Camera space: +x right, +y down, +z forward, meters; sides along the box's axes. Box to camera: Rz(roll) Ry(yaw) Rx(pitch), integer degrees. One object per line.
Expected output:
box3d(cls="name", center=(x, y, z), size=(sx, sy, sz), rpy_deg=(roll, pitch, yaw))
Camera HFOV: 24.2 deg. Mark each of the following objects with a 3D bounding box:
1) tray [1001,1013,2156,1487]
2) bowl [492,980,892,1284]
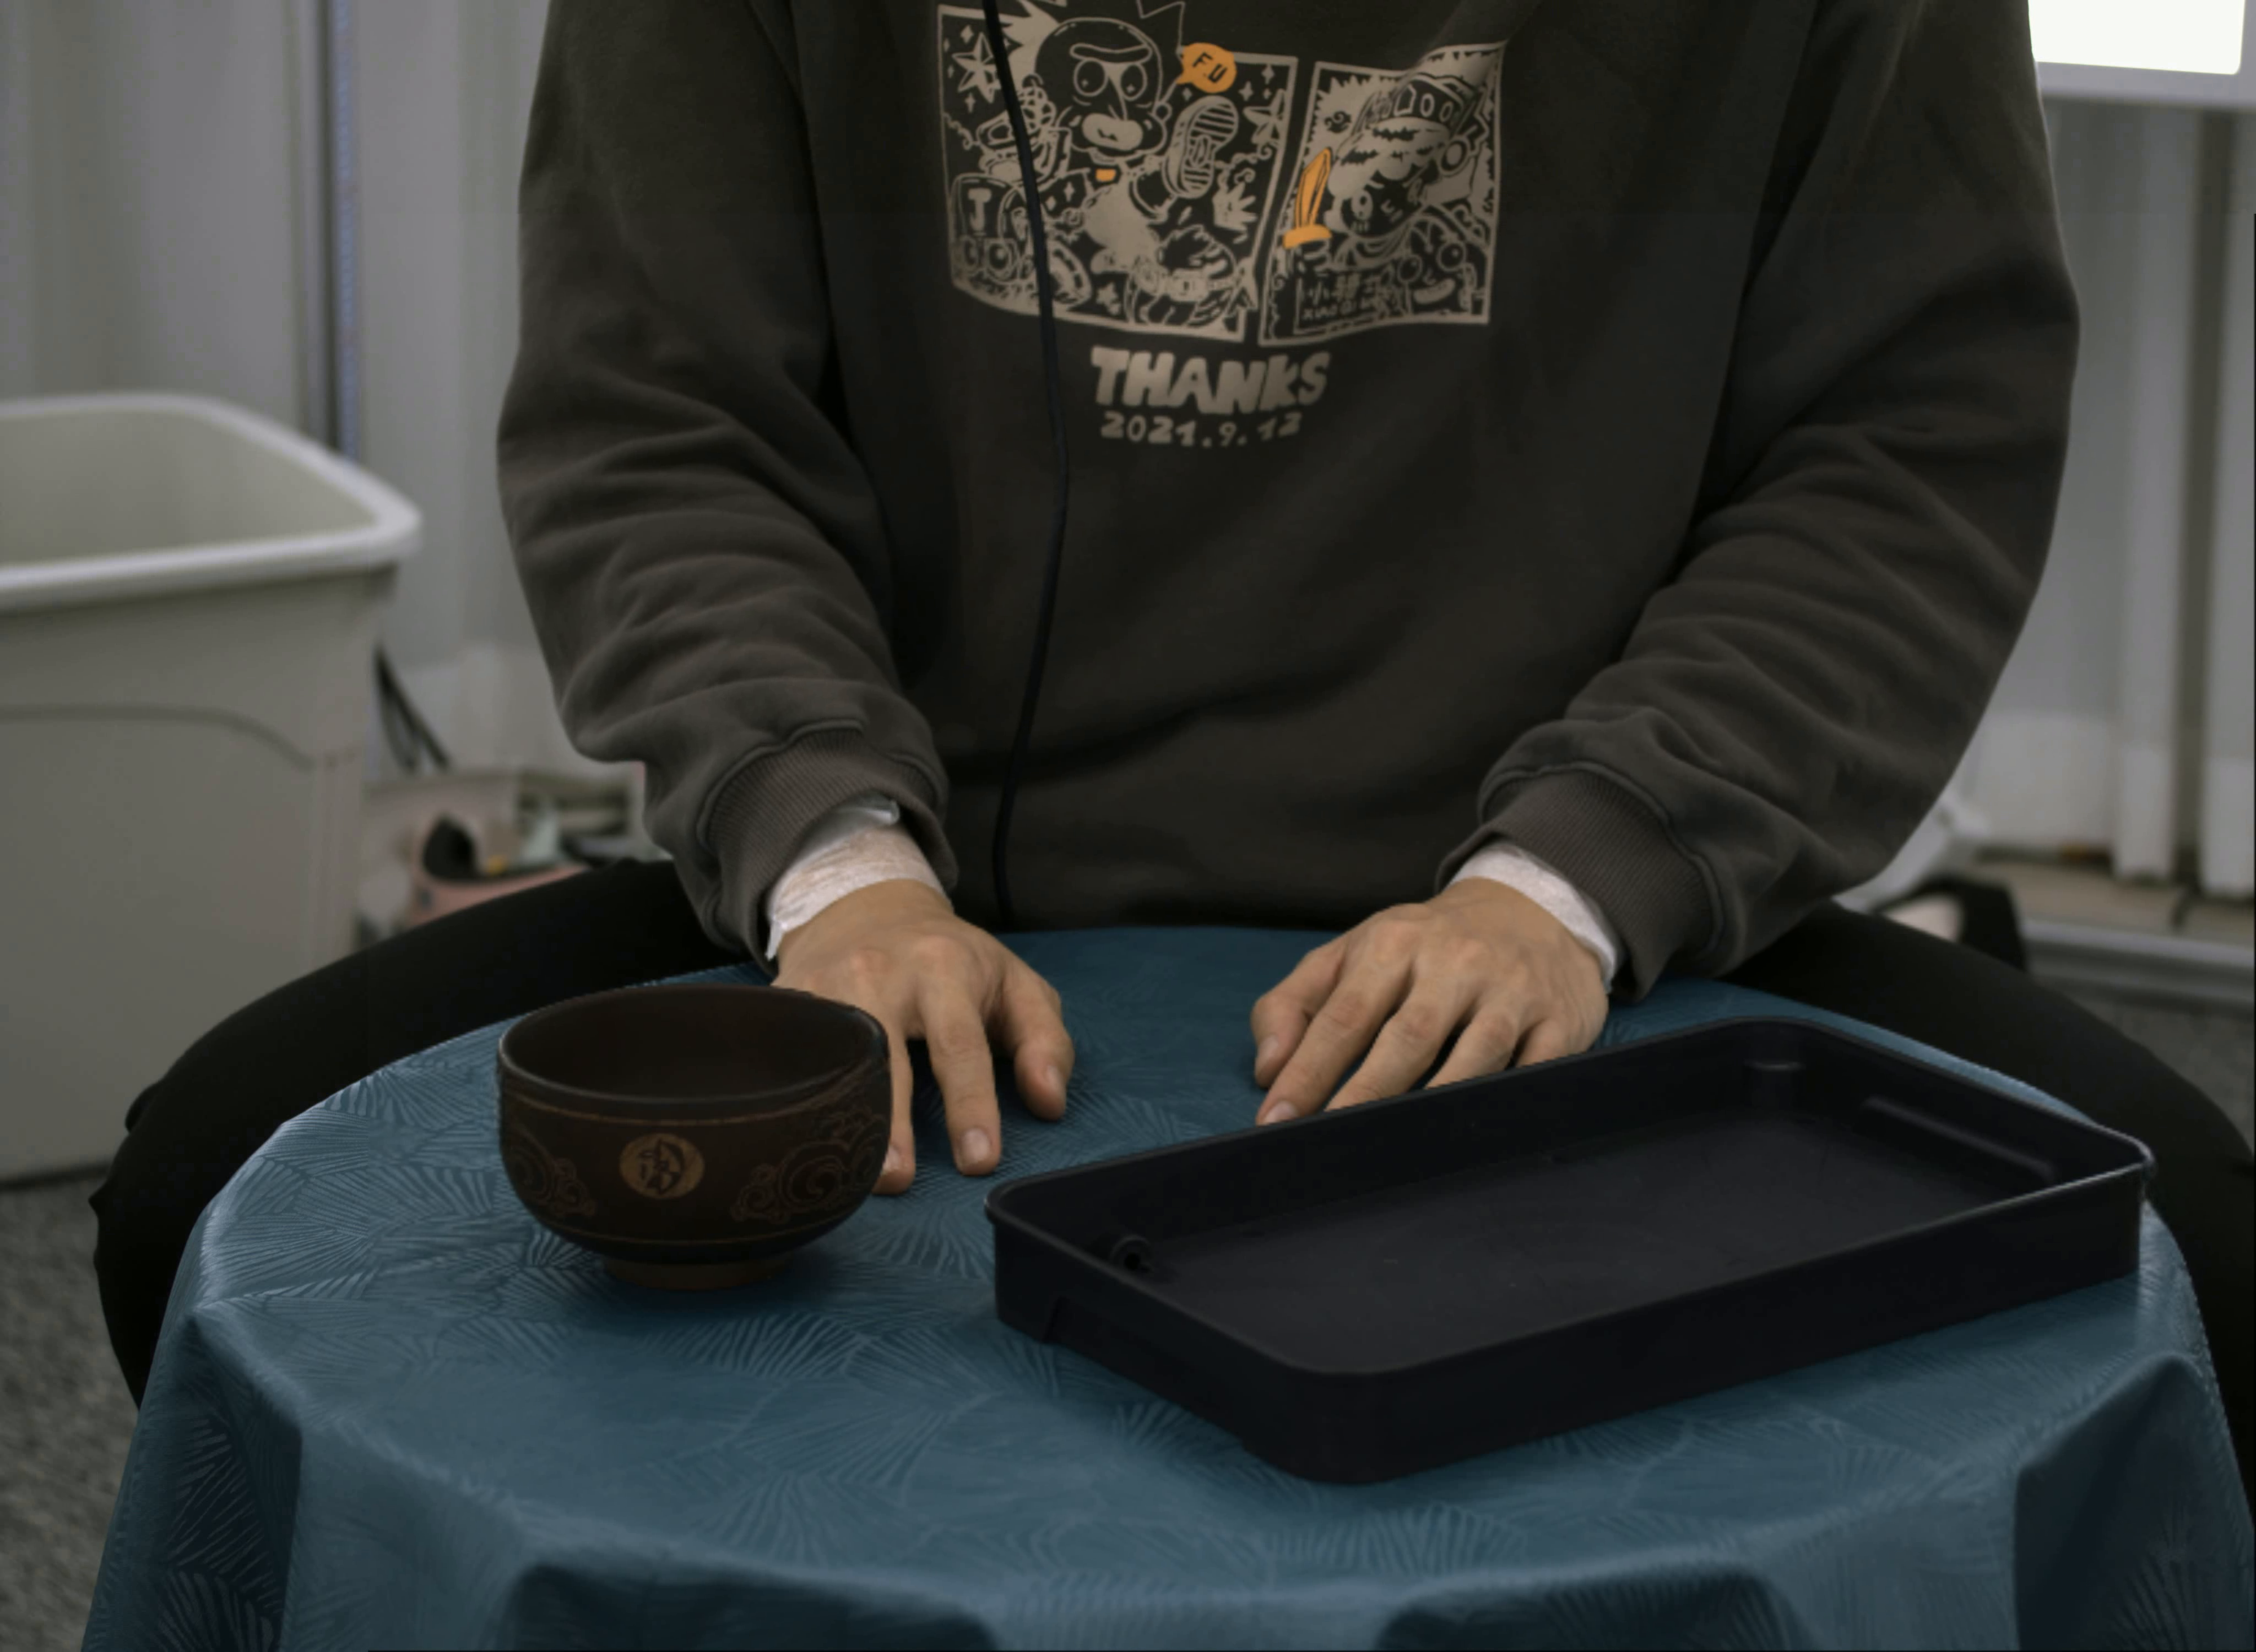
box3d(cls="tray", center=(0.135, 0.118, 1.550), size=(0.319, 0.037, 0.182), rpy_deg=(-12, 19, -36))
box3d(cls="bowl", center=(-0.128, 0.094, 1.558), size=(0.117, 0.070, 0.117), rpy_deg=(0, 14, 1))
